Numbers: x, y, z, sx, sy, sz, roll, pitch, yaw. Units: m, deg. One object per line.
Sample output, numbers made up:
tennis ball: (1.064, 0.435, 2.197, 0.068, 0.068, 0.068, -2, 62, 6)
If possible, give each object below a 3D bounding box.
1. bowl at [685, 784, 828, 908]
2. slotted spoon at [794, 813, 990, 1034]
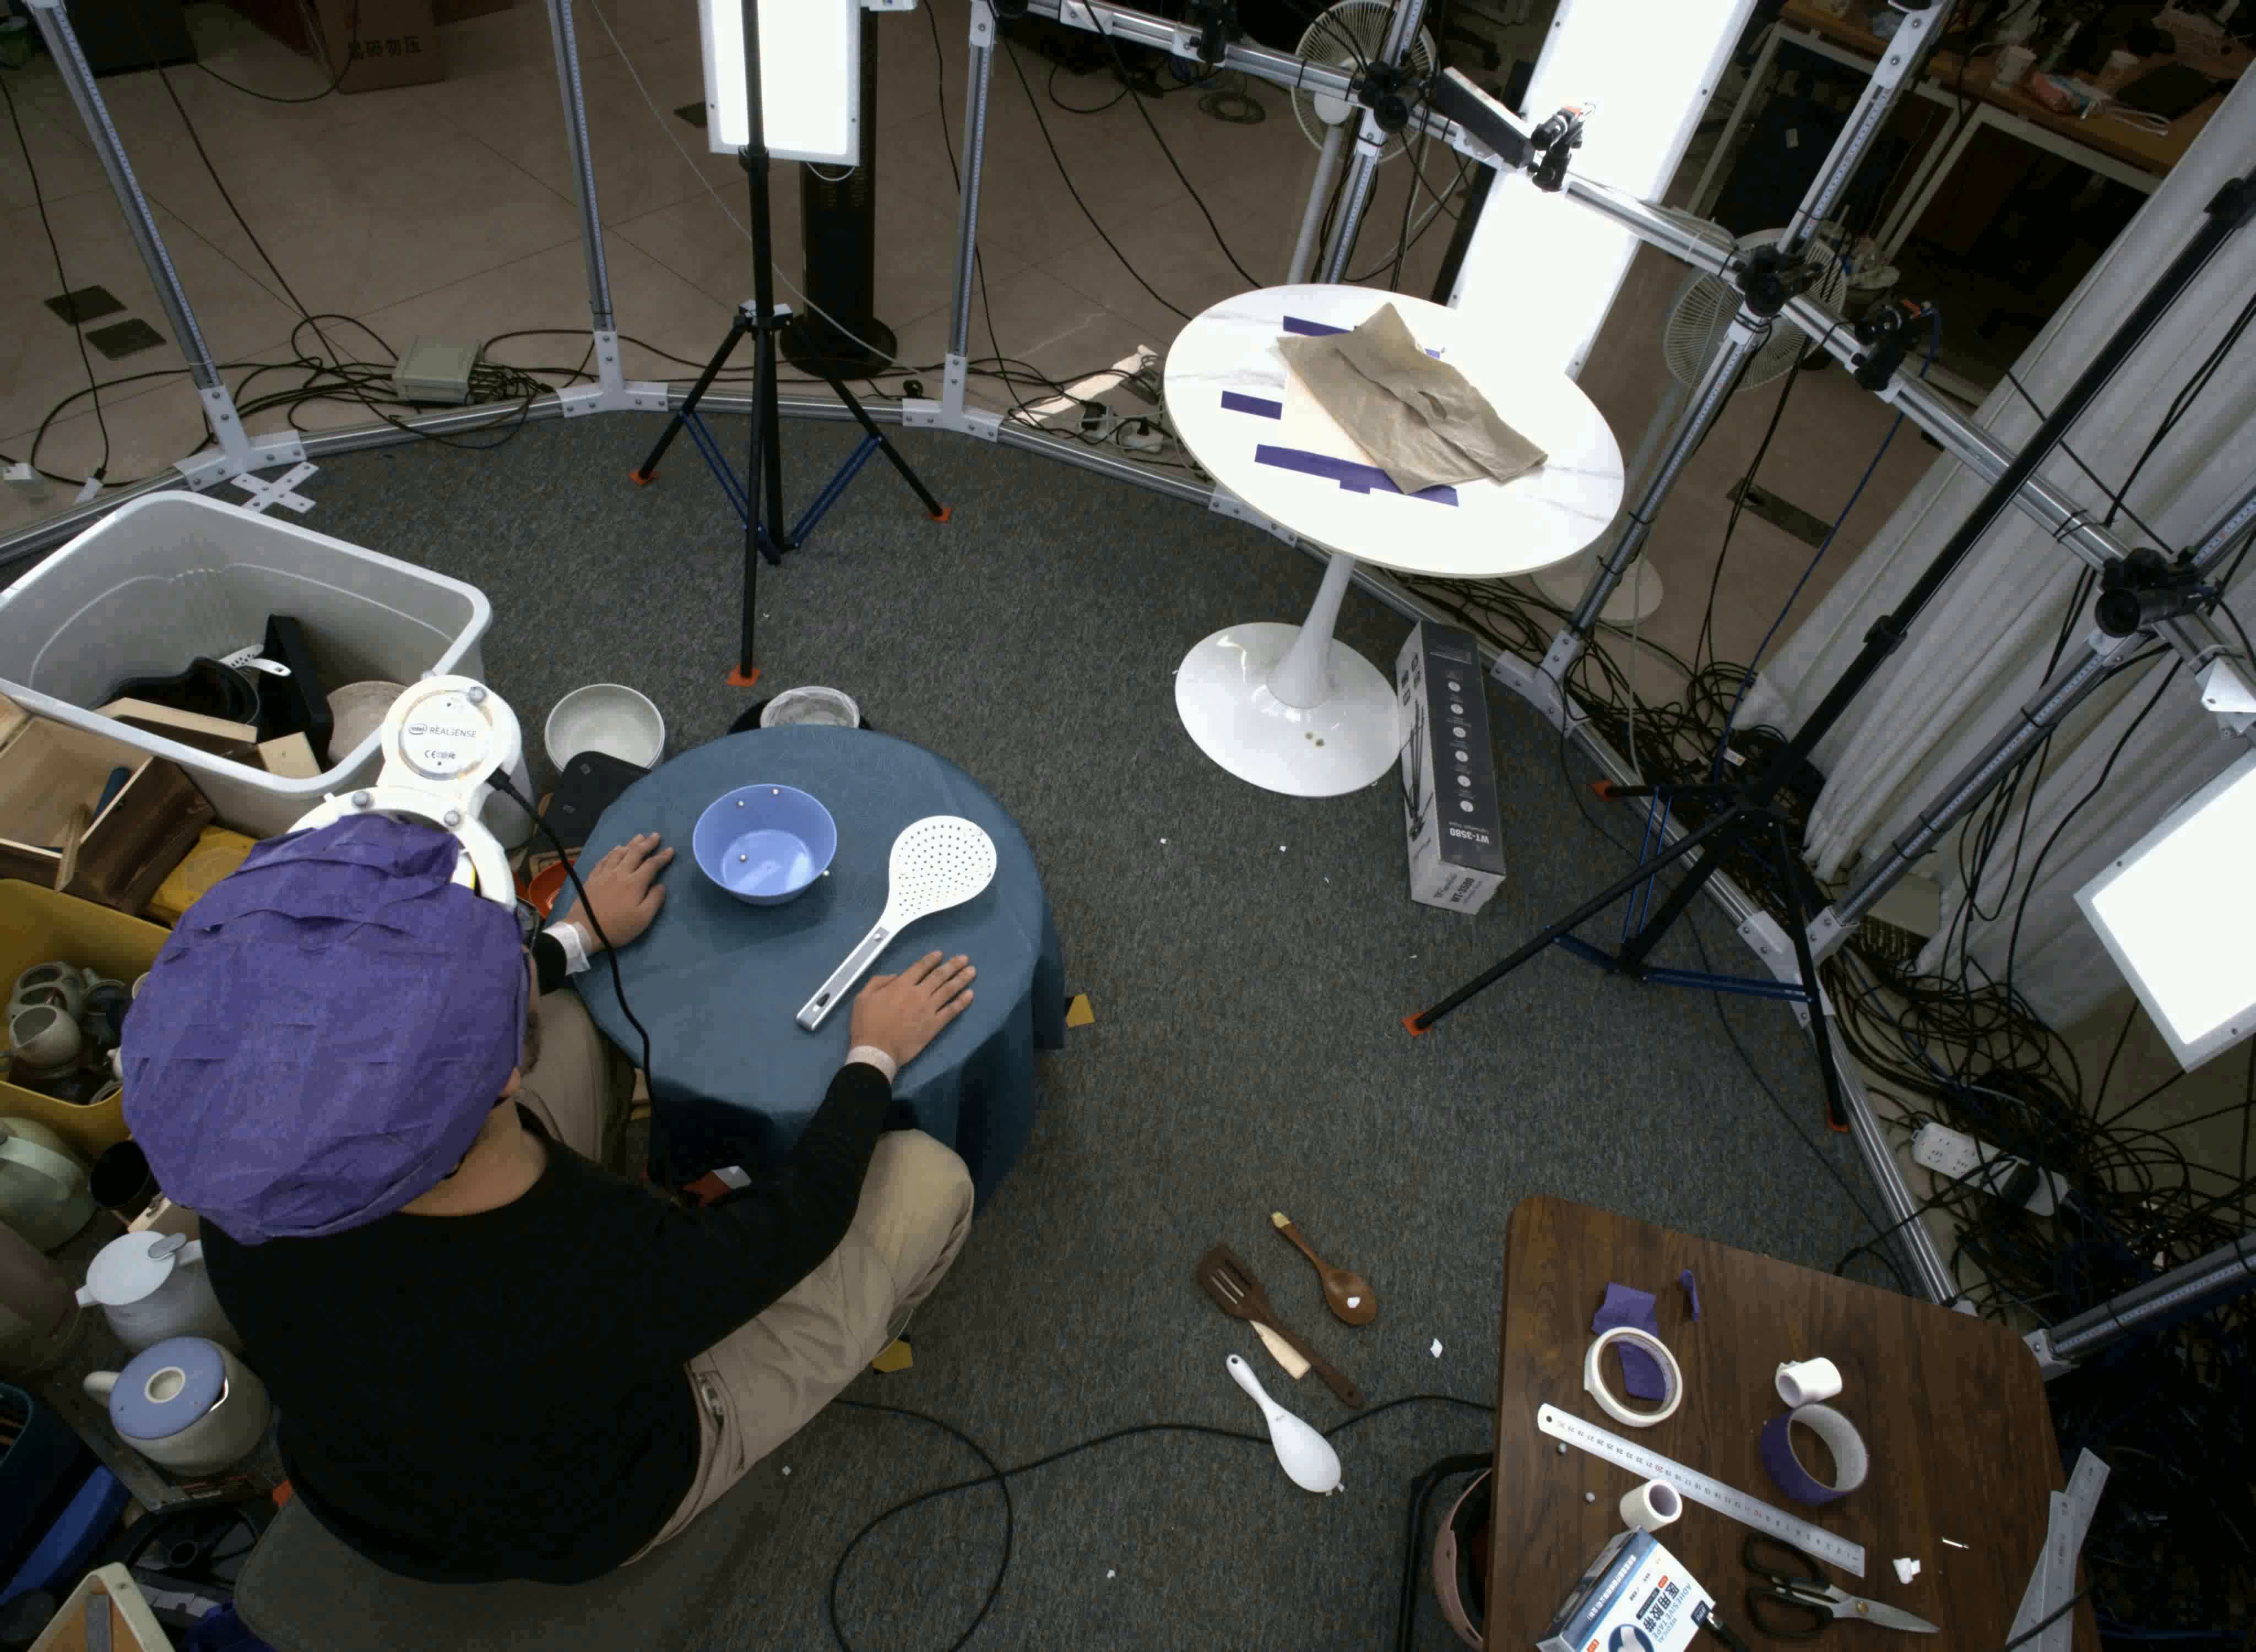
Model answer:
bowl: (-0.468, 0.035, 1.636, 0.176, 0.071, 0.173, 8, 53, -9)
slotted spoon: (-0.301, 0.118, 1.633, 0.134, 0.046, 0.348, 30, 53, 9)
